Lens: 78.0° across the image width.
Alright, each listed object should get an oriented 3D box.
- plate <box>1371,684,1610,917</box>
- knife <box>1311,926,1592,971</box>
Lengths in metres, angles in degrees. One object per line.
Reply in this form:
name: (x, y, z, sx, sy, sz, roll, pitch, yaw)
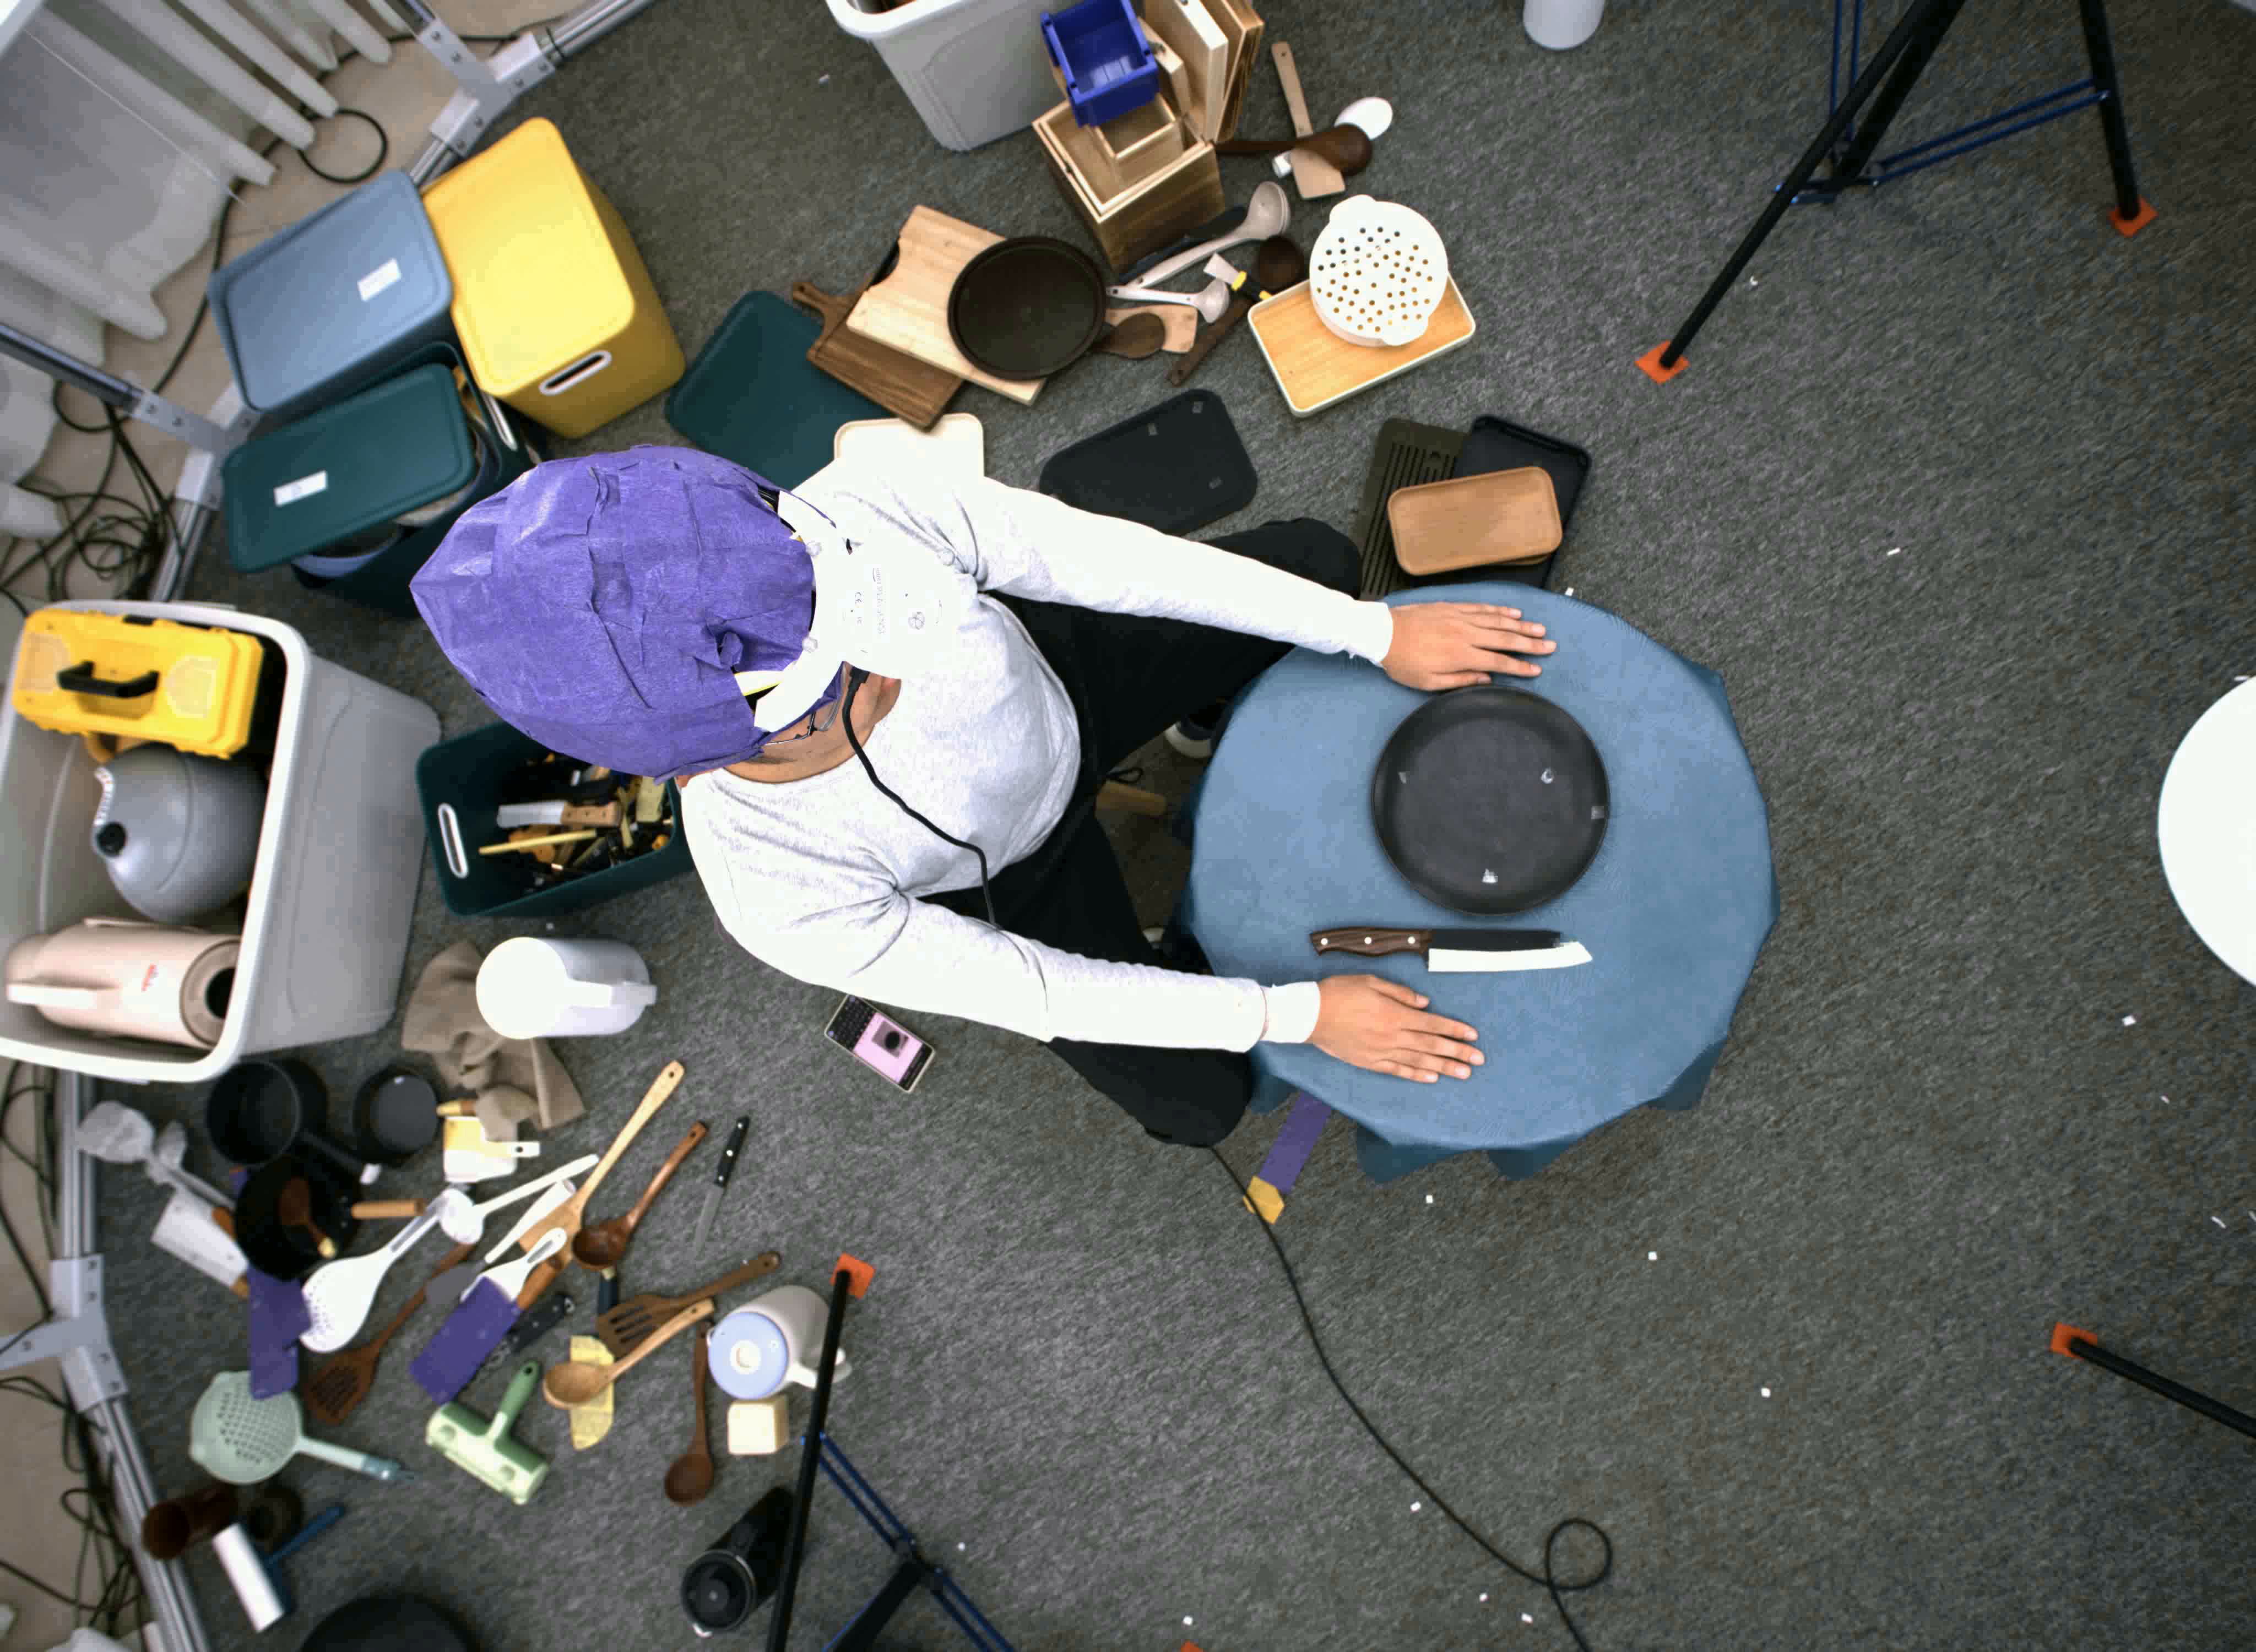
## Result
plate: (0.376, -0.029, 1.434, 0.245, 0.023, 0.243, -1, 87, 11)
knife: (0.336, 0.124, 1.437, 0.290, 0.020, 0.050, 2, 92, 8)
